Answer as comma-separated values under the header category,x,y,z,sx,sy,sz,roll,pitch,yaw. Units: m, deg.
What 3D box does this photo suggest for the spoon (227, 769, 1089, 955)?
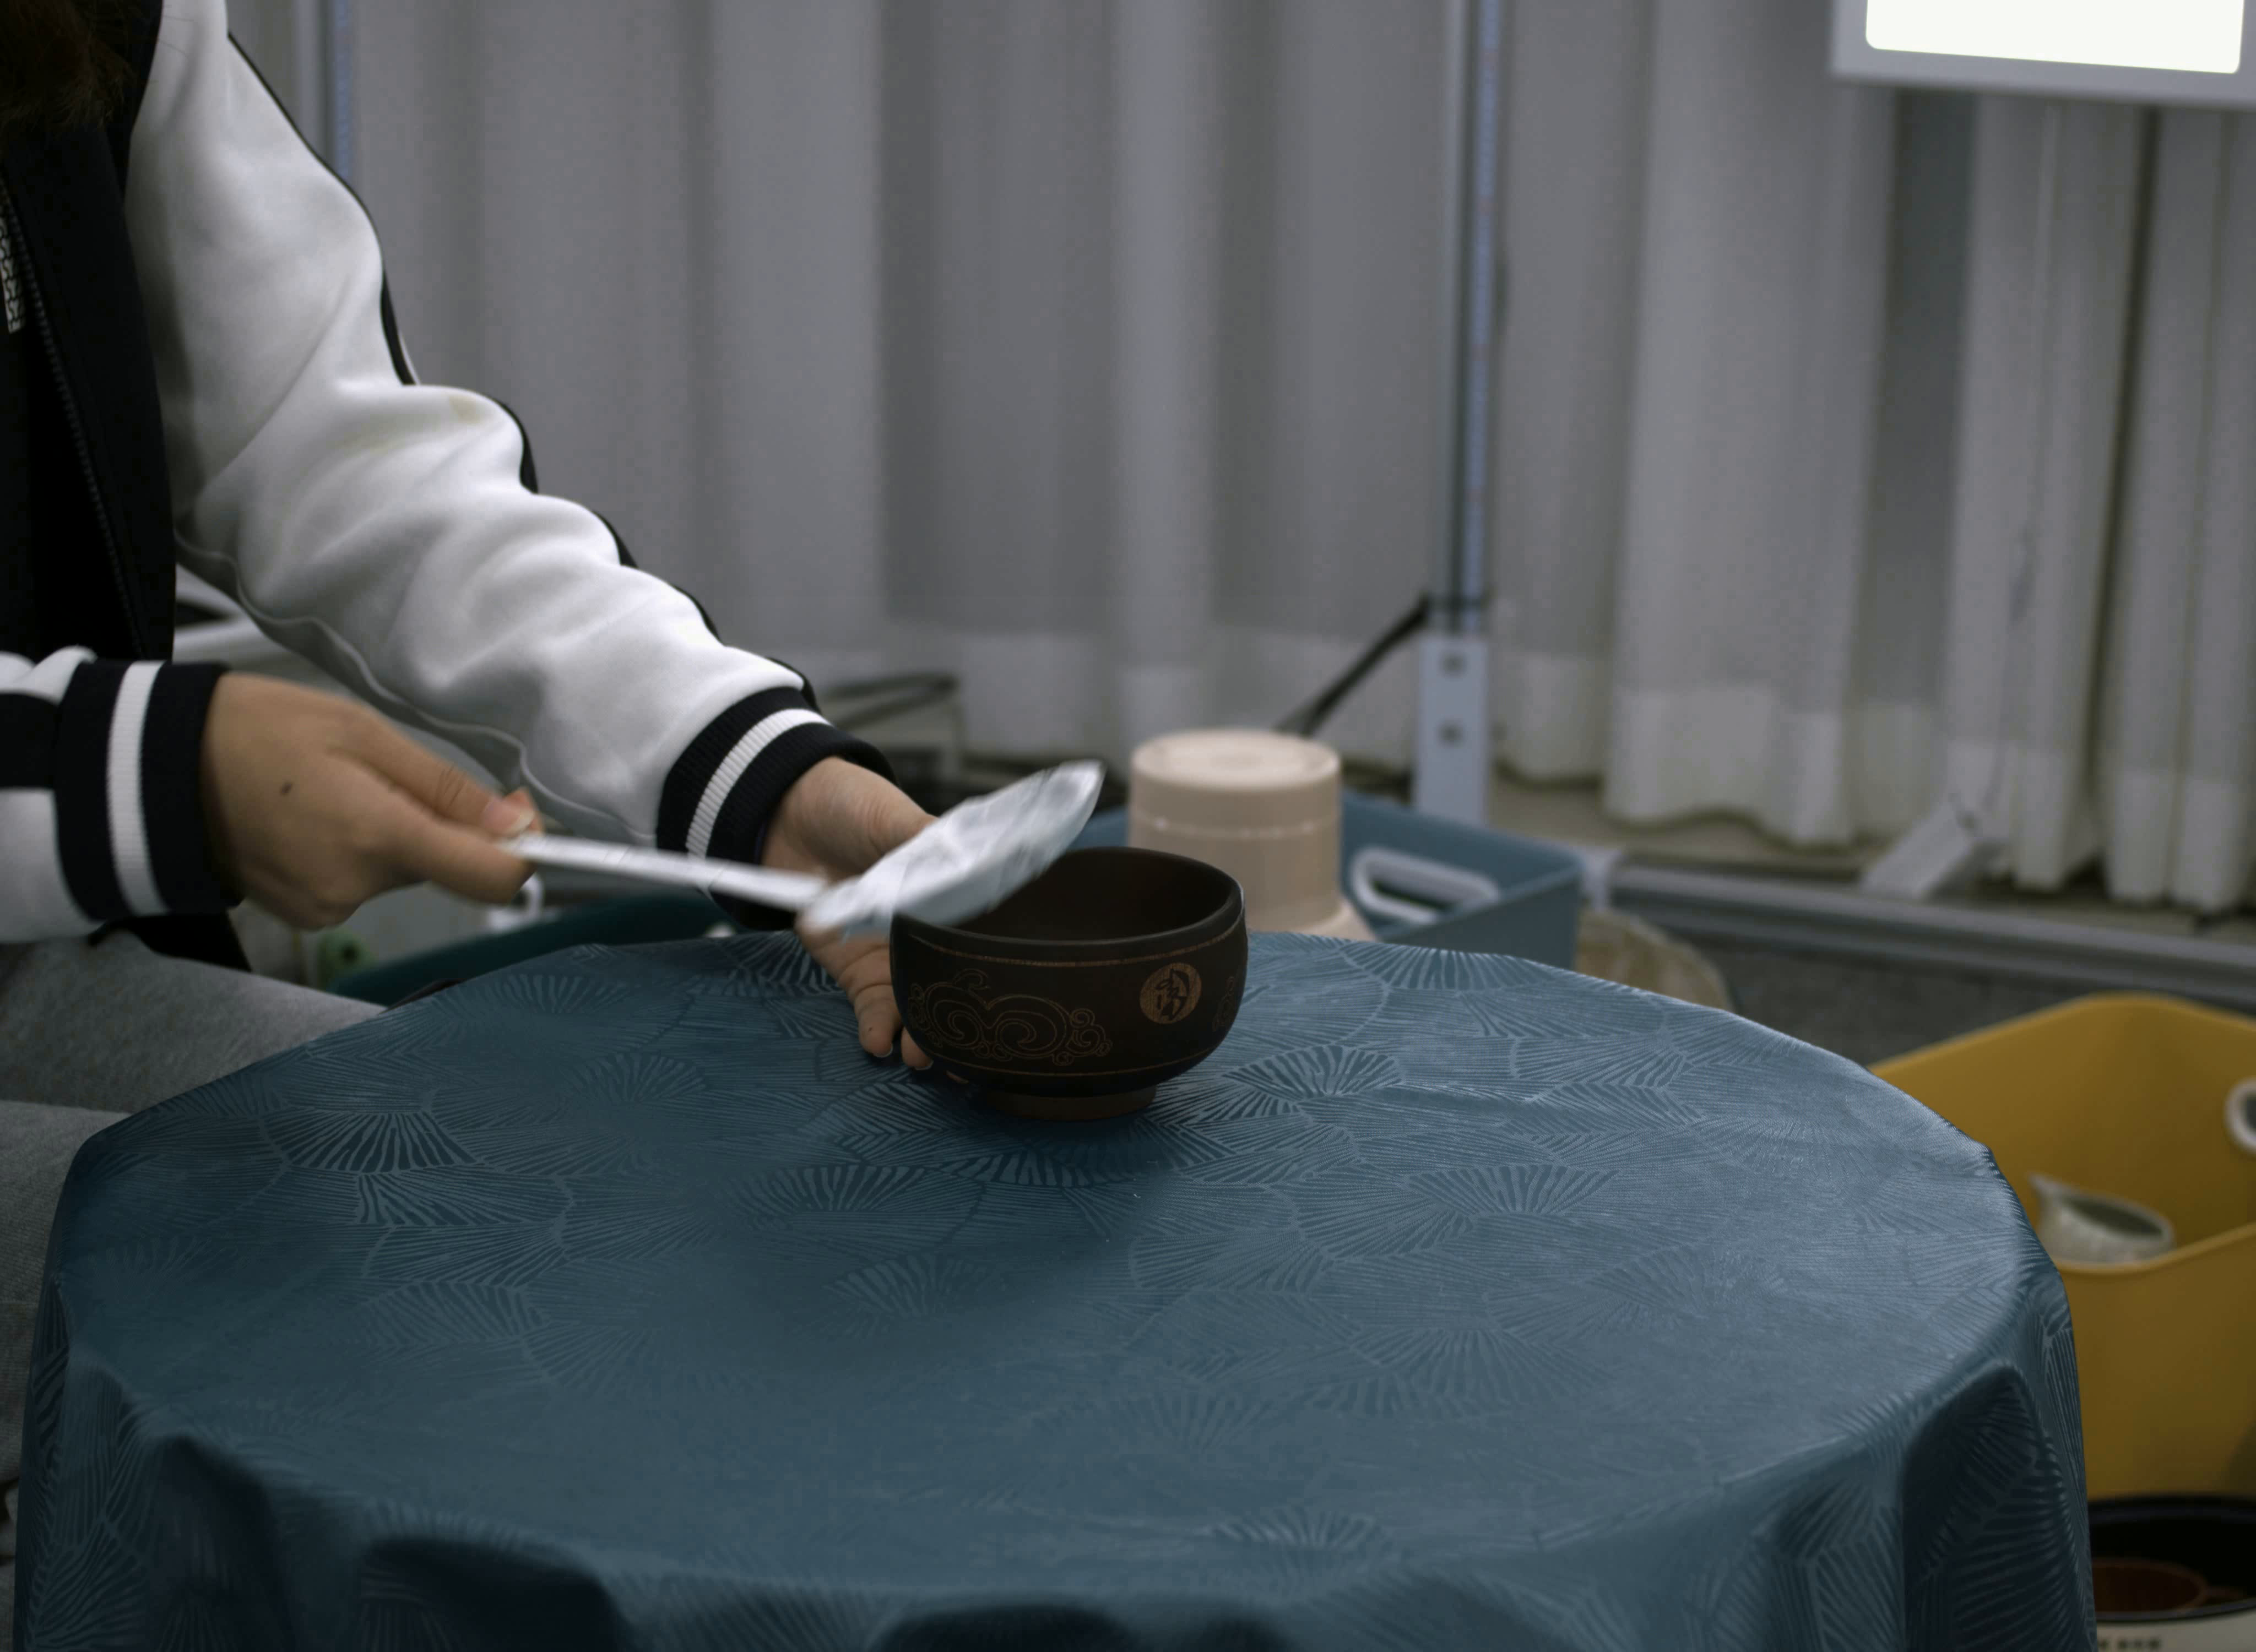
category,x,y,z,sx,sy,sz,roll,pitch,yaw
spoon,-0.144,-0.010,1.578,0.275,0.060,0.100,13,23,16

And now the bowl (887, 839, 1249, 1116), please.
category,x,y,z,sx,sy,sz,roll,pitch,yaw
bowl,-0.019,0.052,1.700,0.117,0.070,0.117,0,15,0
